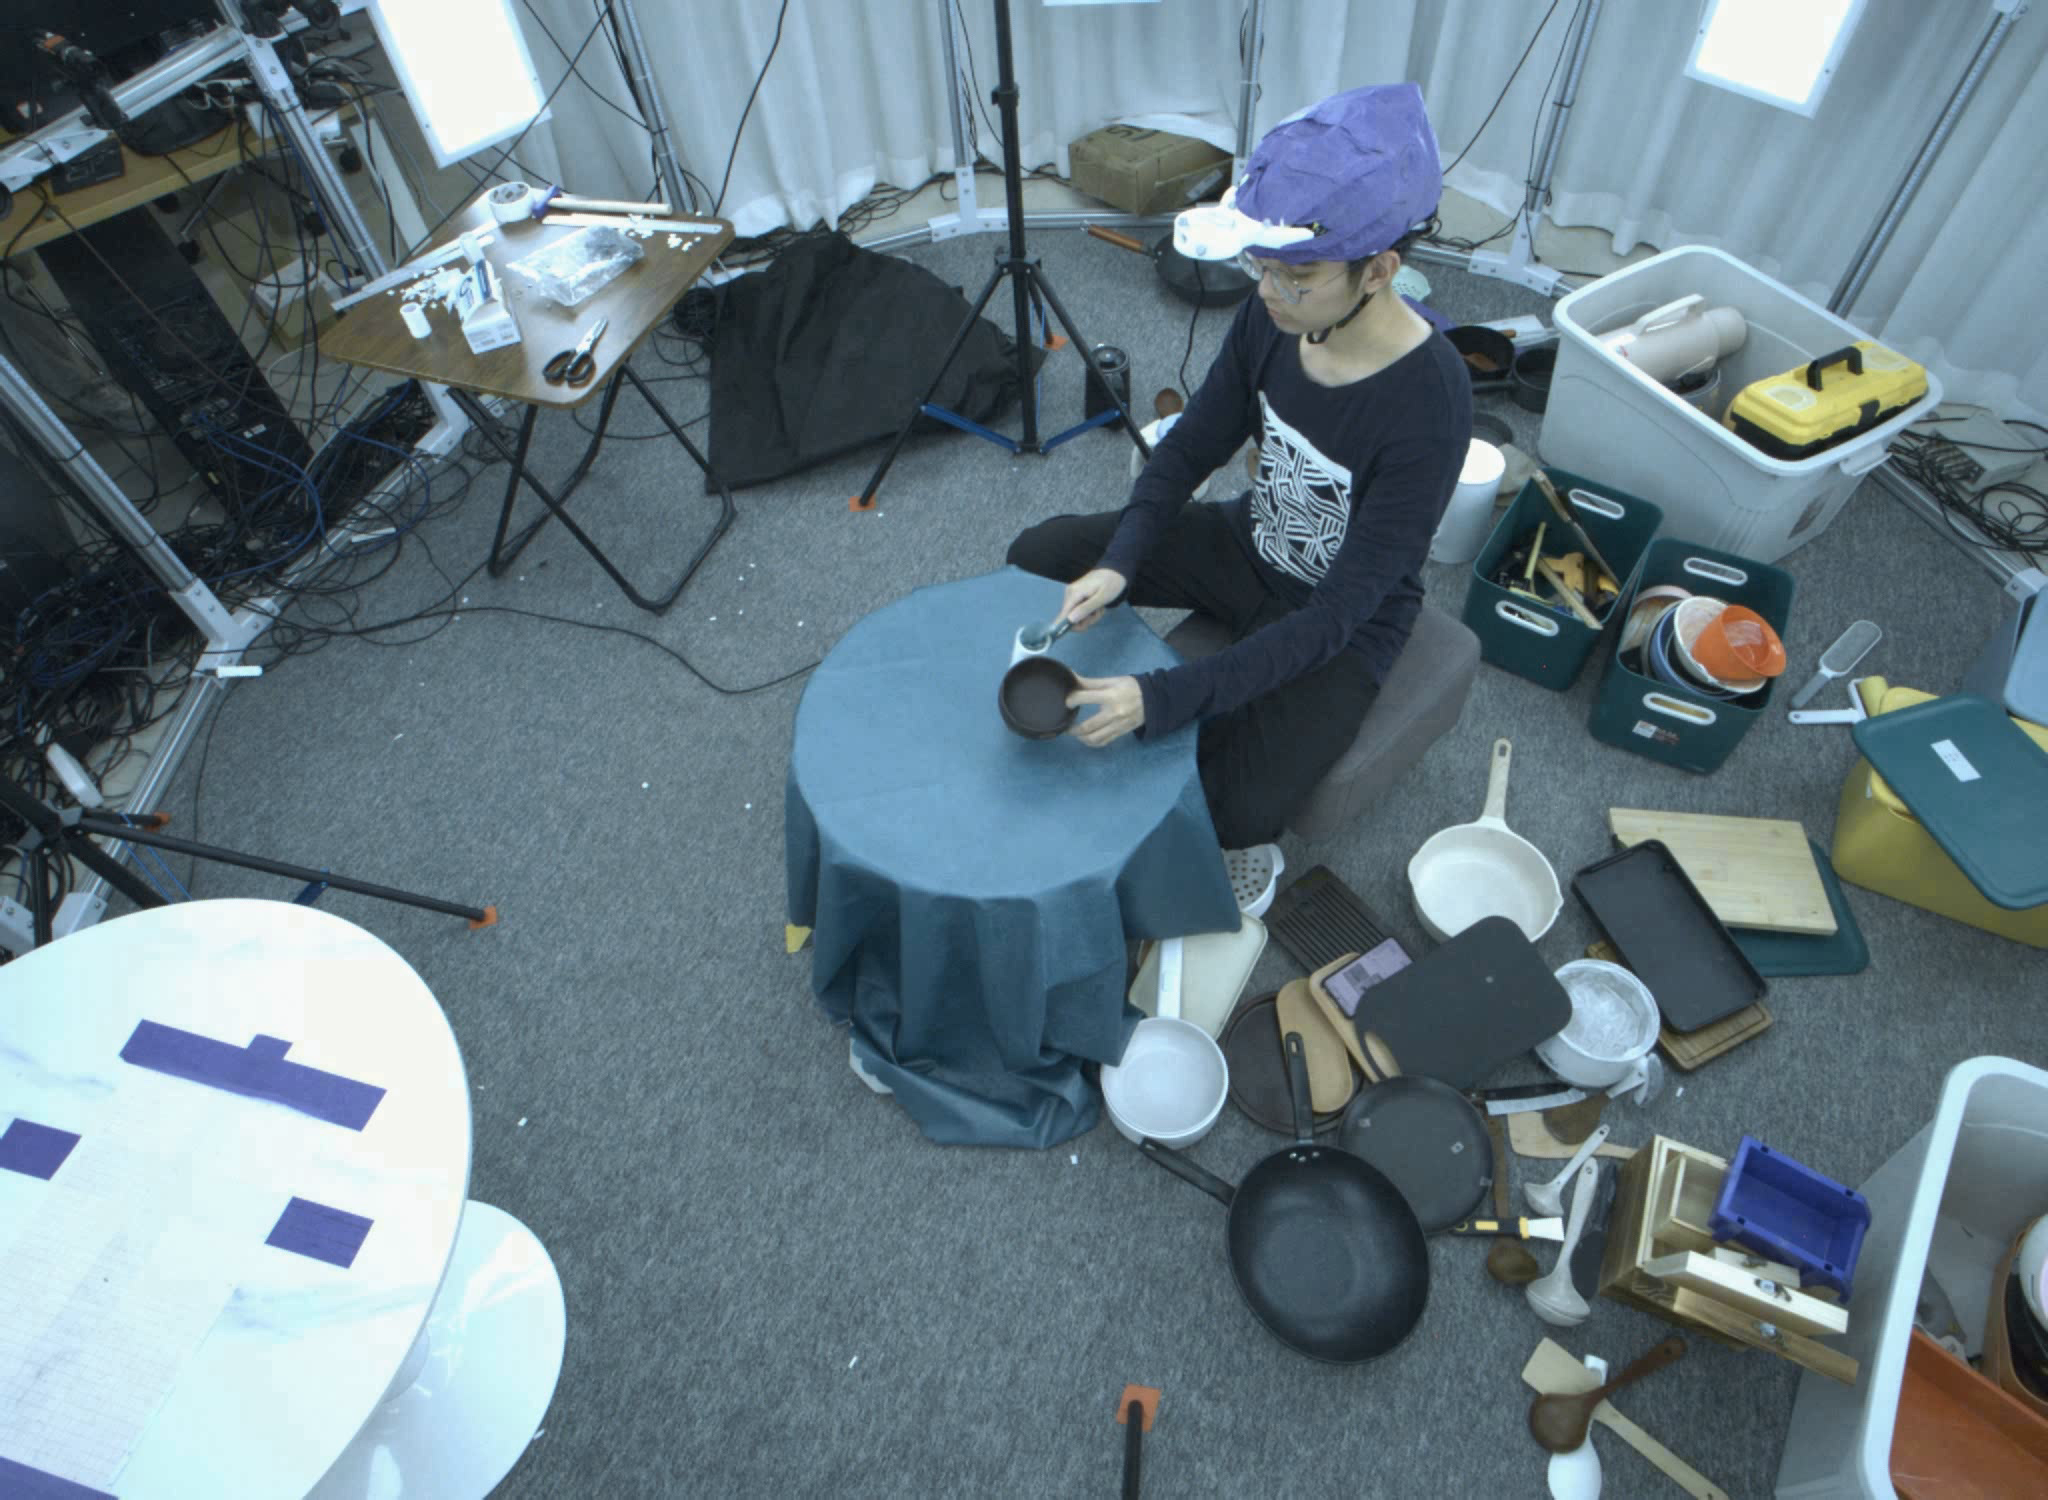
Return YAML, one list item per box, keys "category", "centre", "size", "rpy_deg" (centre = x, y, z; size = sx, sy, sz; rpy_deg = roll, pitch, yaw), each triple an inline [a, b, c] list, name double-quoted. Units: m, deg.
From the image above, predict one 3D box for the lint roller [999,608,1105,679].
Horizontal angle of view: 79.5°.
- category: "lint roller"
  centre: [0.042, -0.176, 1.817]
  size: [0.181, 0.134, 0.048]
  rpy_deg: [-38, 78, -27]

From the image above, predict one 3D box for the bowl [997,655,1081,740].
- category: "bowl"
  centre: [0.019, -0.068, 1.748]
  size: [0.119, 0.070, 0.117]
  rpy_deg: [3, 68, -7]
